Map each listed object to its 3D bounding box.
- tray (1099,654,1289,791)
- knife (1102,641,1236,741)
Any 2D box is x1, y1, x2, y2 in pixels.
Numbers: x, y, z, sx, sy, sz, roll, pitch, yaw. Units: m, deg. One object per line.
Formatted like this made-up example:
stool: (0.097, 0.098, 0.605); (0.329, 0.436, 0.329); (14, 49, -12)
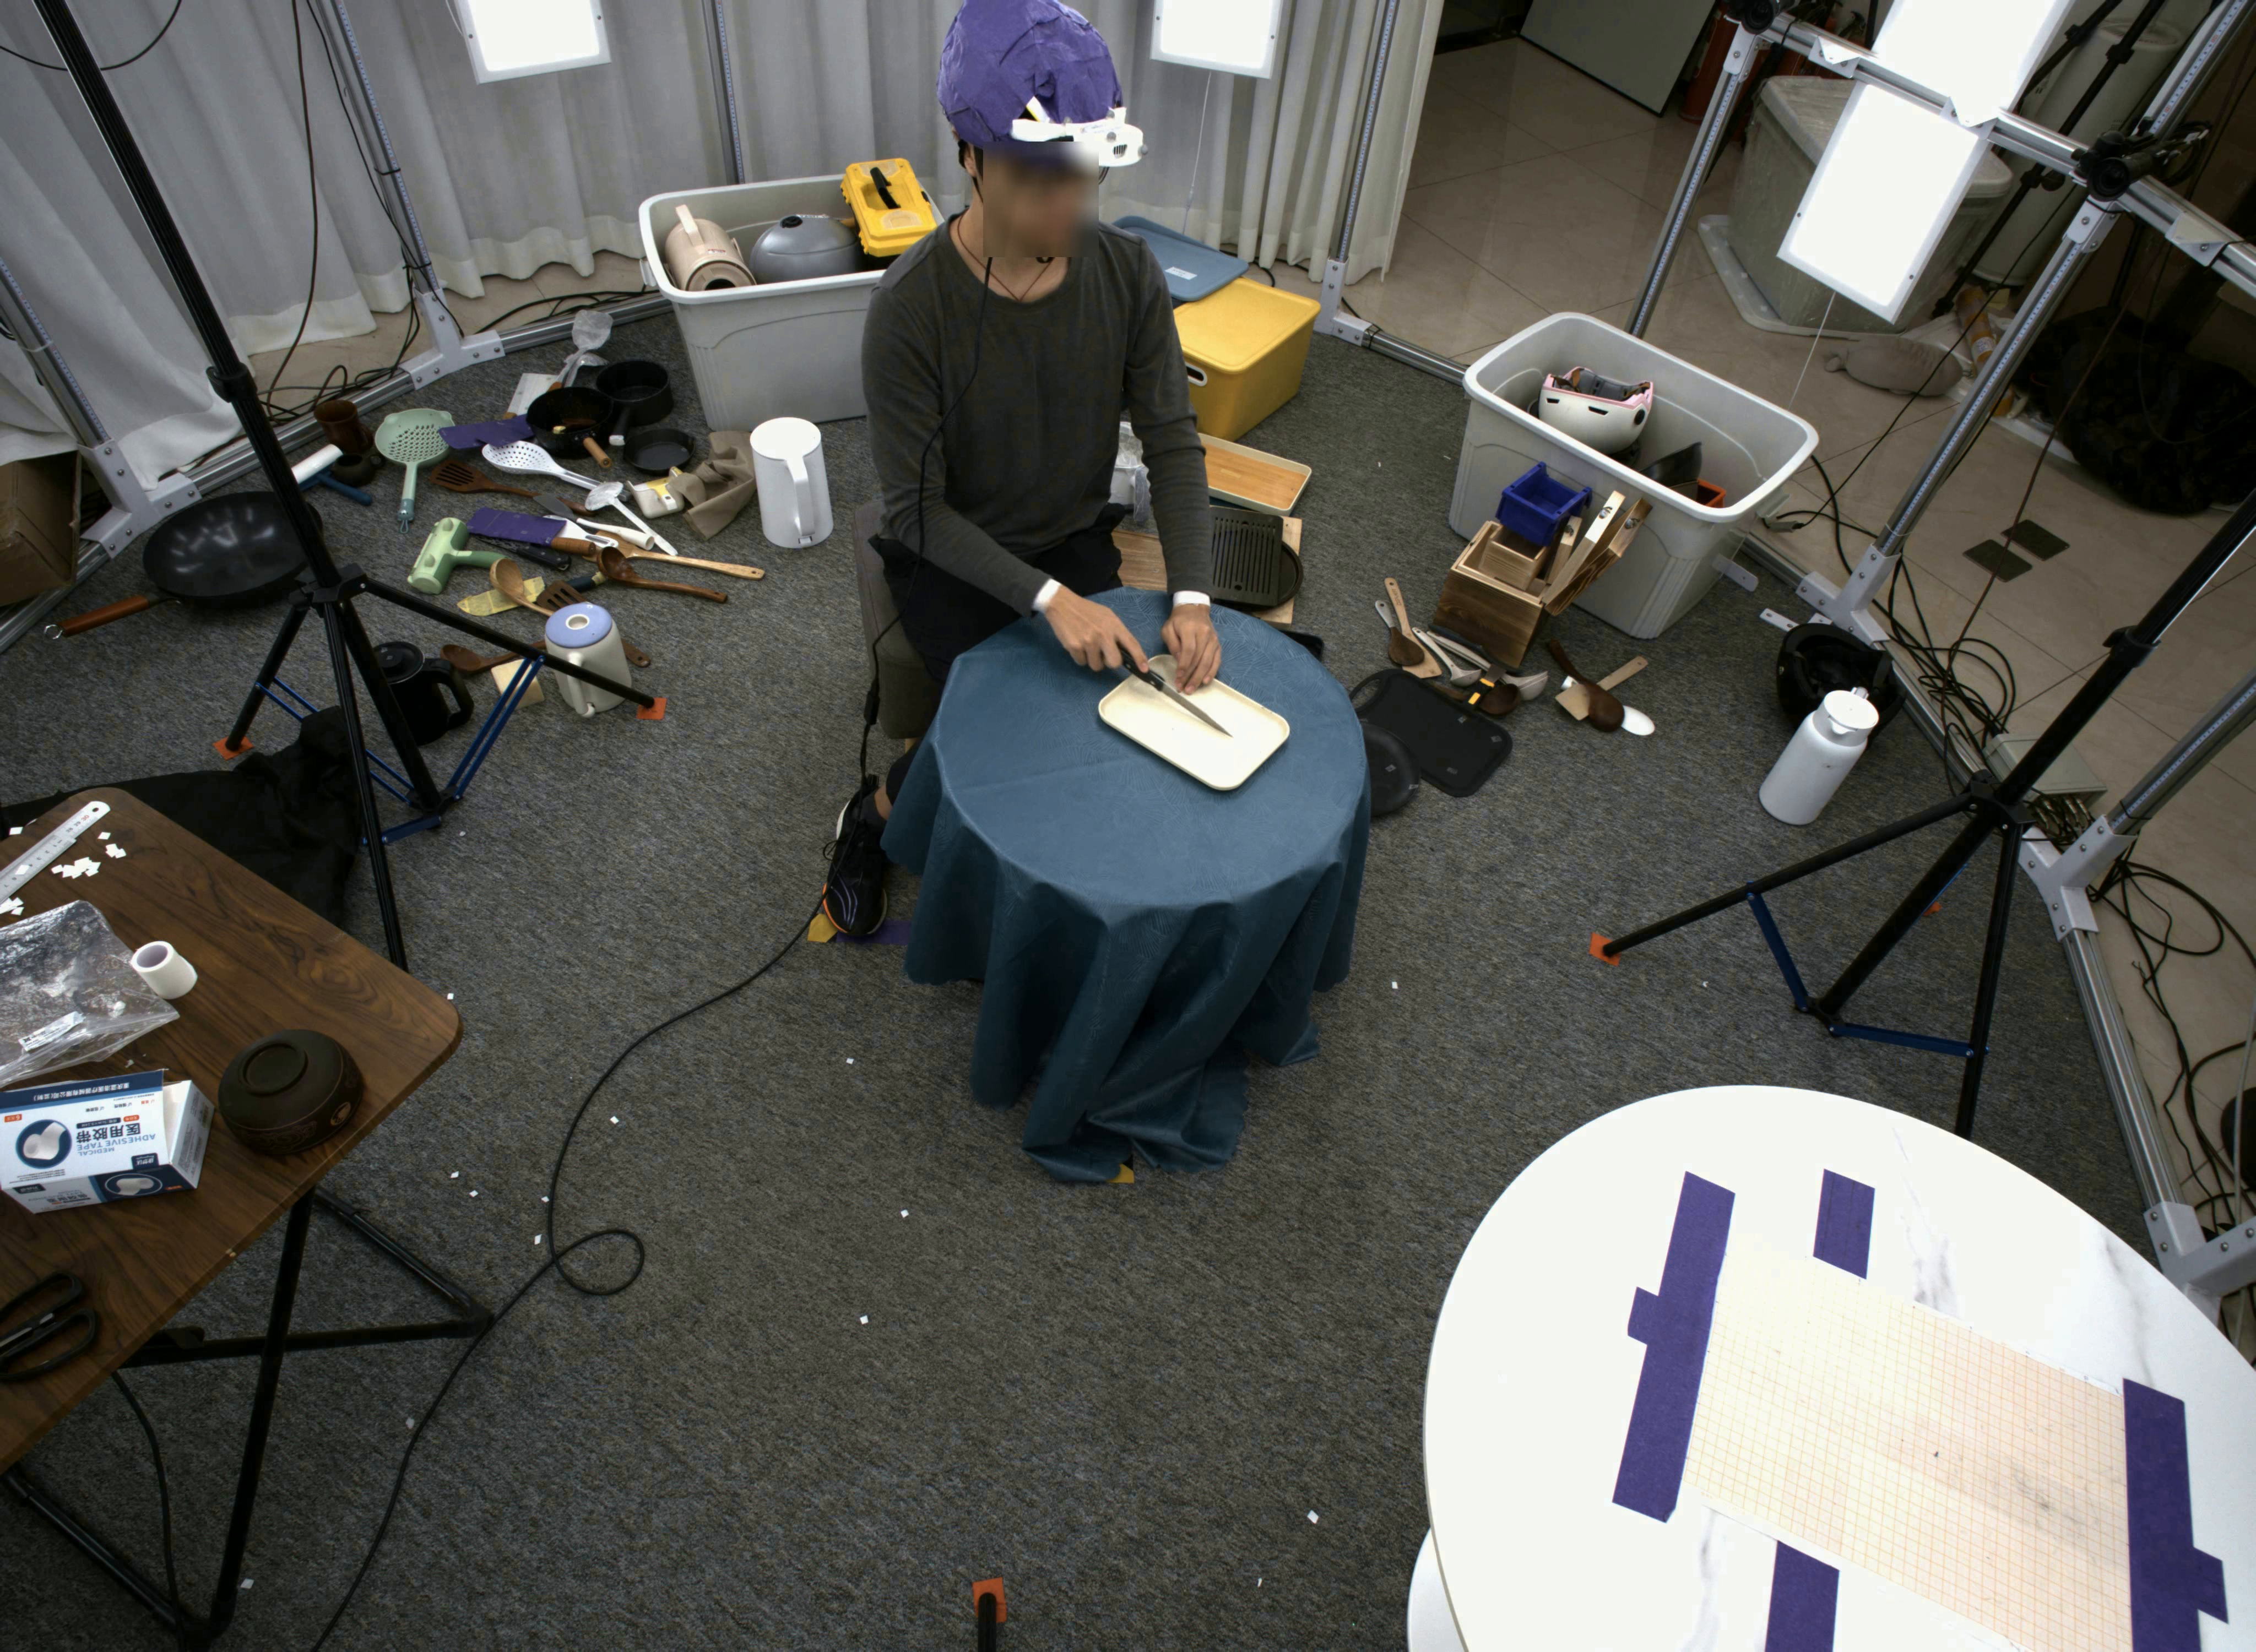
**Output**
tray: (0.091, -0.146, 1.789); (0.242, 0.017, 0.173); (33, 55, 23)
knife: (0.058, -0.191, 1.803); (0.240, 0.024, 0.016); (38, 64, 13)
